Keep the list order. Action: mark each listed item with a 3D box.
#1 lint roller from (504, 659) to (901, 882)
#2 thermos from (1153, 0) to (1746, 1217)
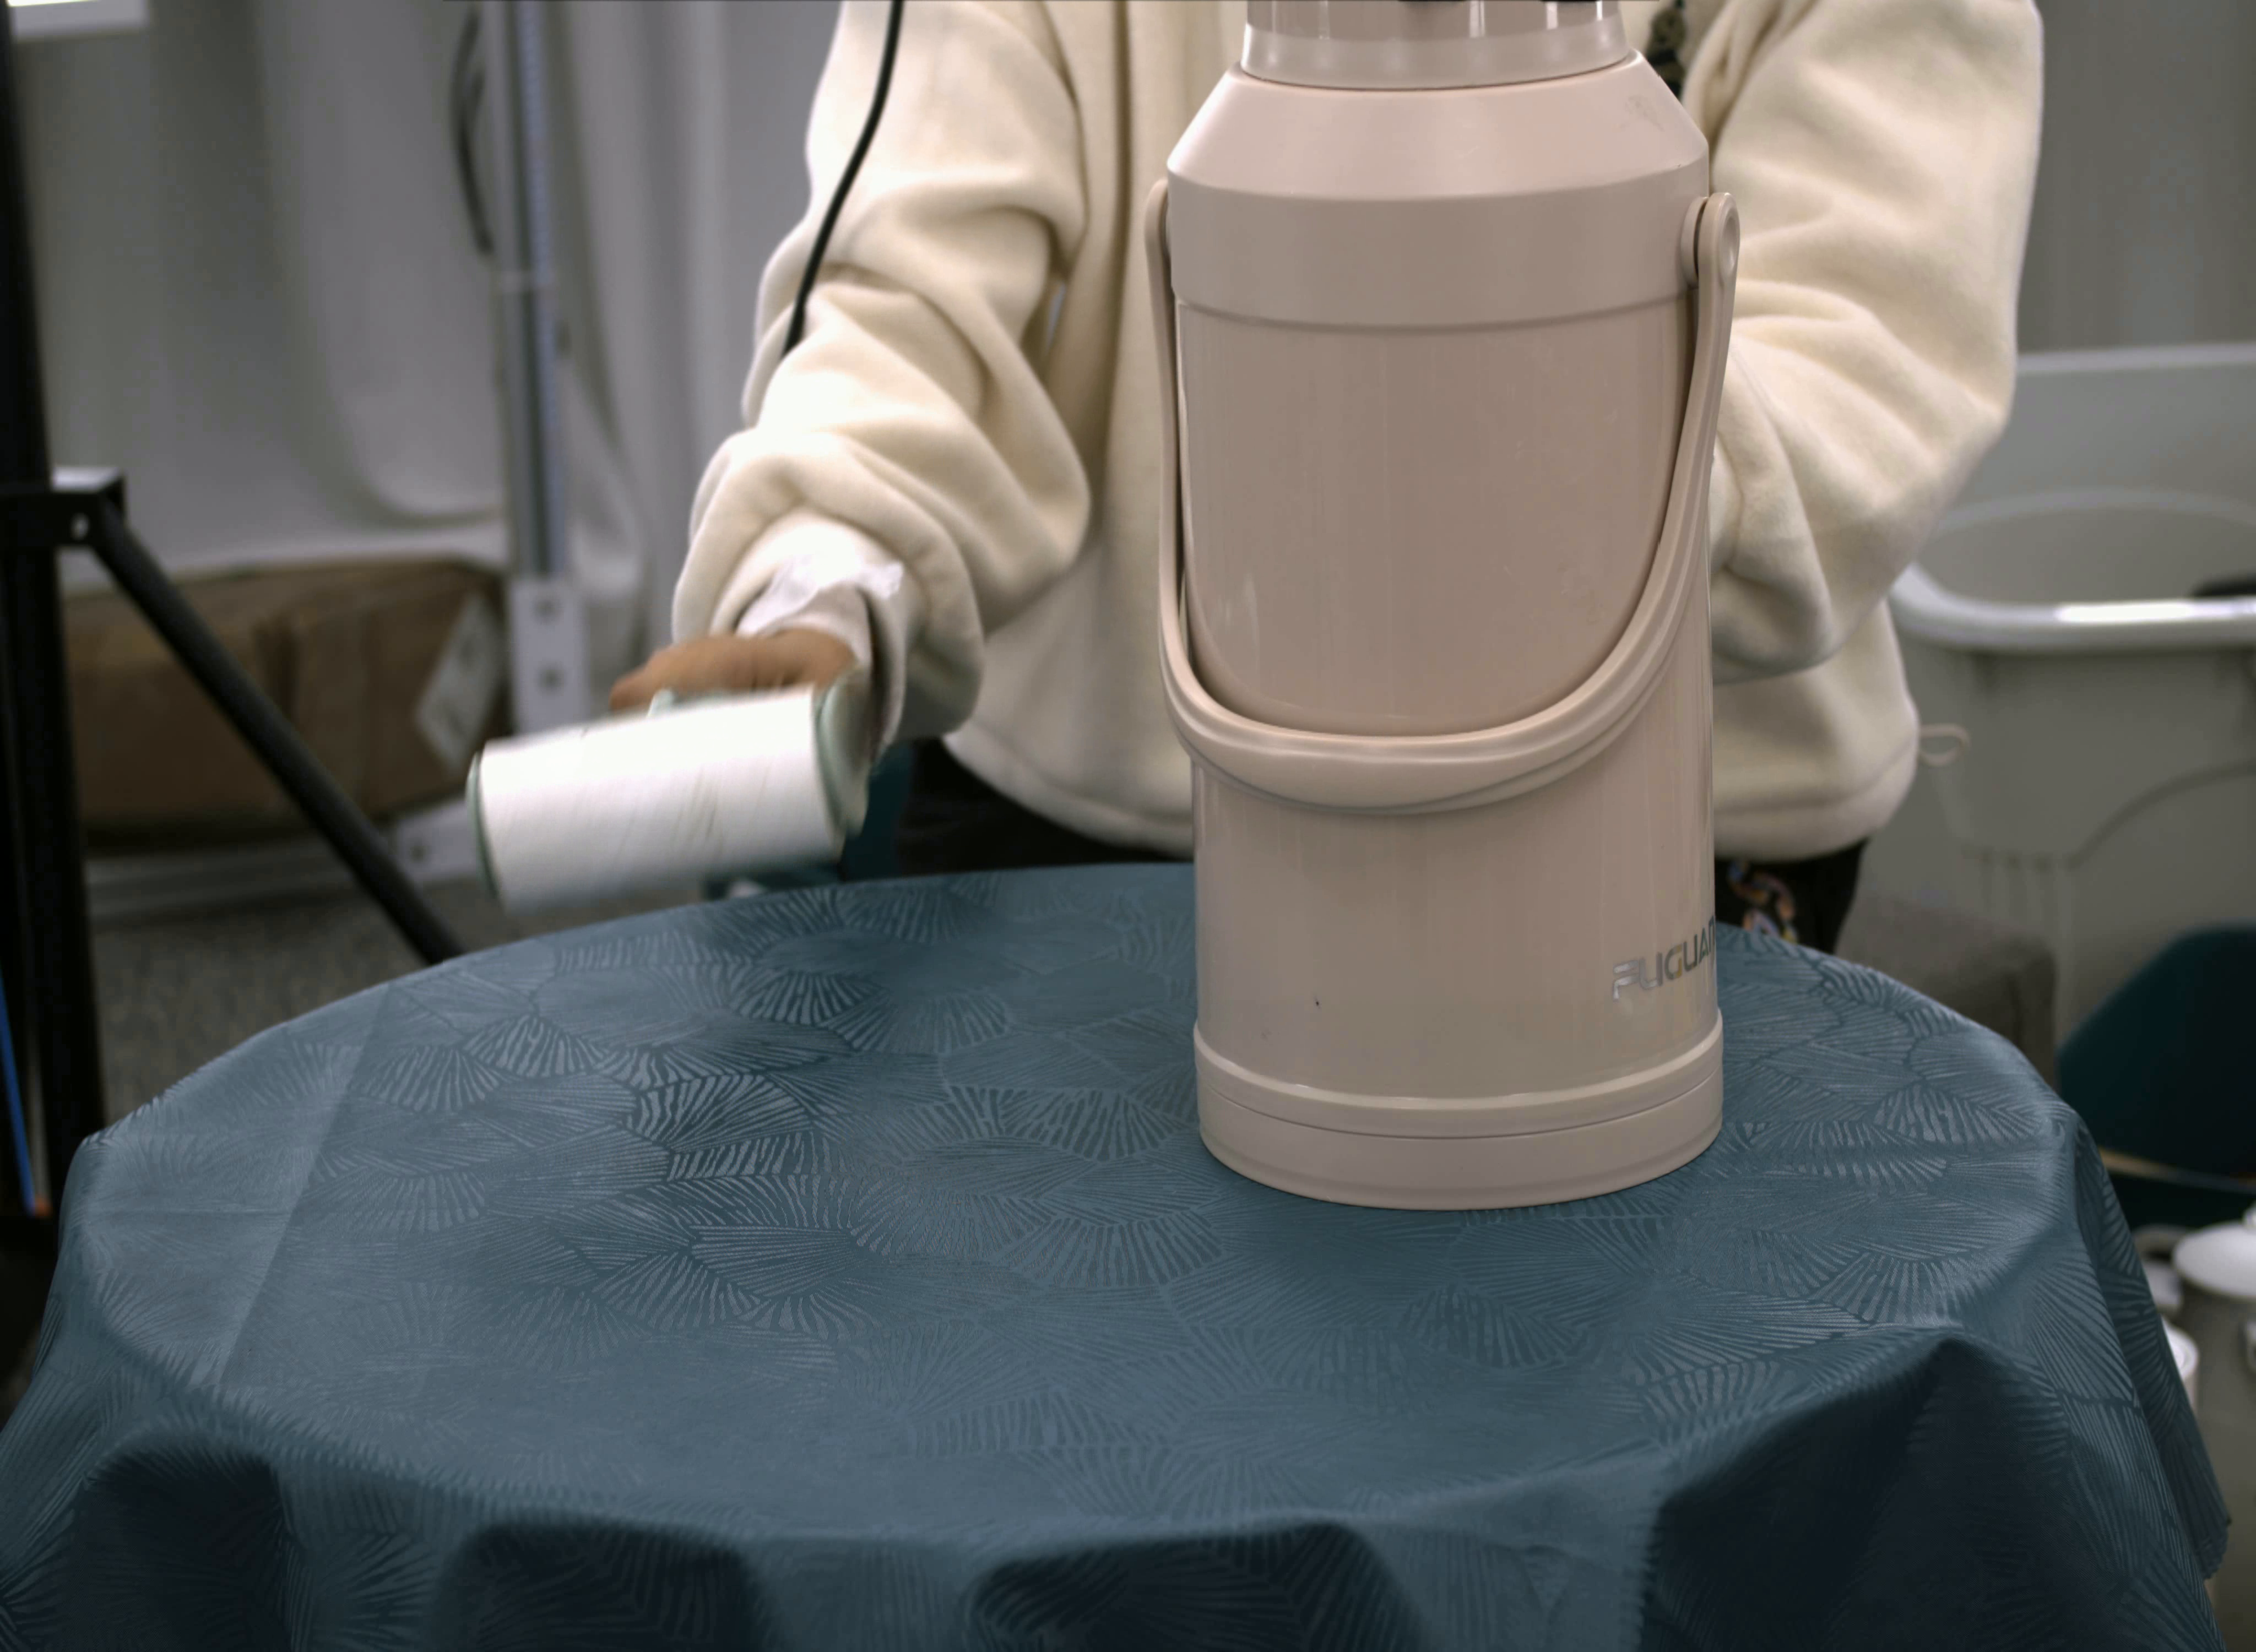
[{"bbox_3d":[-0.122,-0.026,1.638,0.116,0.048,0.197,-13,8,5],"label":"lint roller"},{"bbox_3d":[0.100,-0.103,1.563,0.178,0.406,0.204,4,16,23],"label":"thermos"}]
